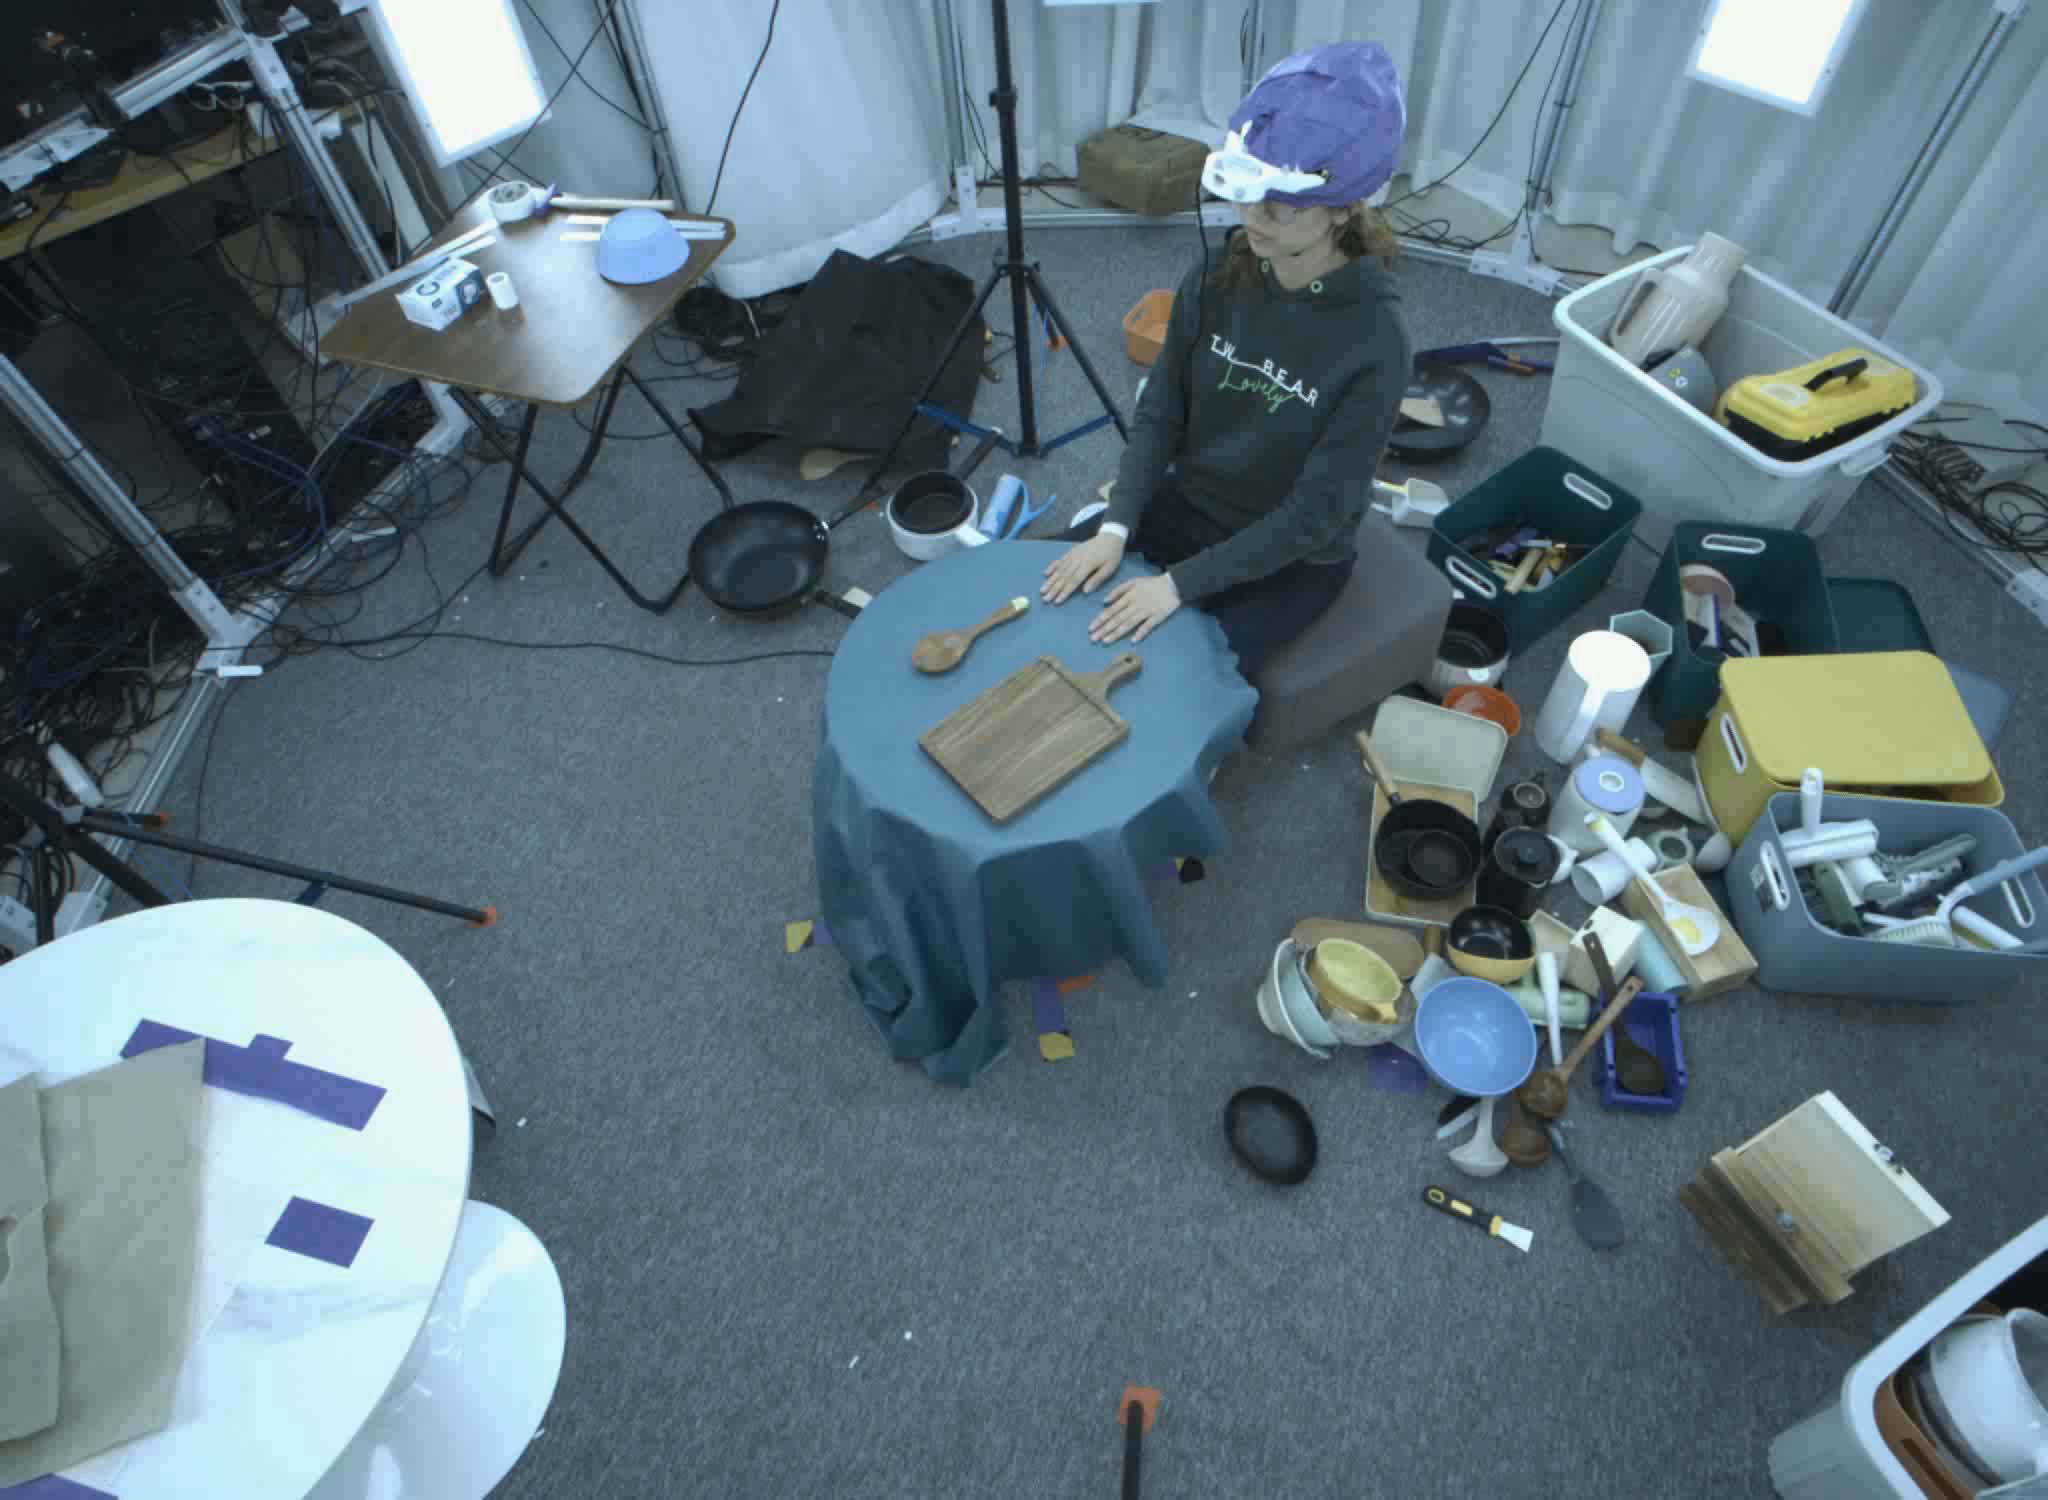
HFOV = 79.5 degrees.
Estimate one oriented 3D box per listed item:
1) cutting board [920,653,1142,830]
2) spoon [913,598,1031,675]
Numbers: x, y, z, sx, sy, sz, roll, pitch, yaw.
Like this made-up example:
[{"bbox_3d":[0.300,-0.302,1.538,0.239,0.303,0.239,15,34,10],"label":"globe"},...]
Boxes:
[{"bbox_3d":[0.040,-0.042,1.815,0.355,0.023,0.197,-35,60,-21],"label":"cutting board"},{"bbox_3d":[-0.078,-0.178,1.914,0.217,0.017,0.074,-33,59,-19],"label":"spoon"}]
